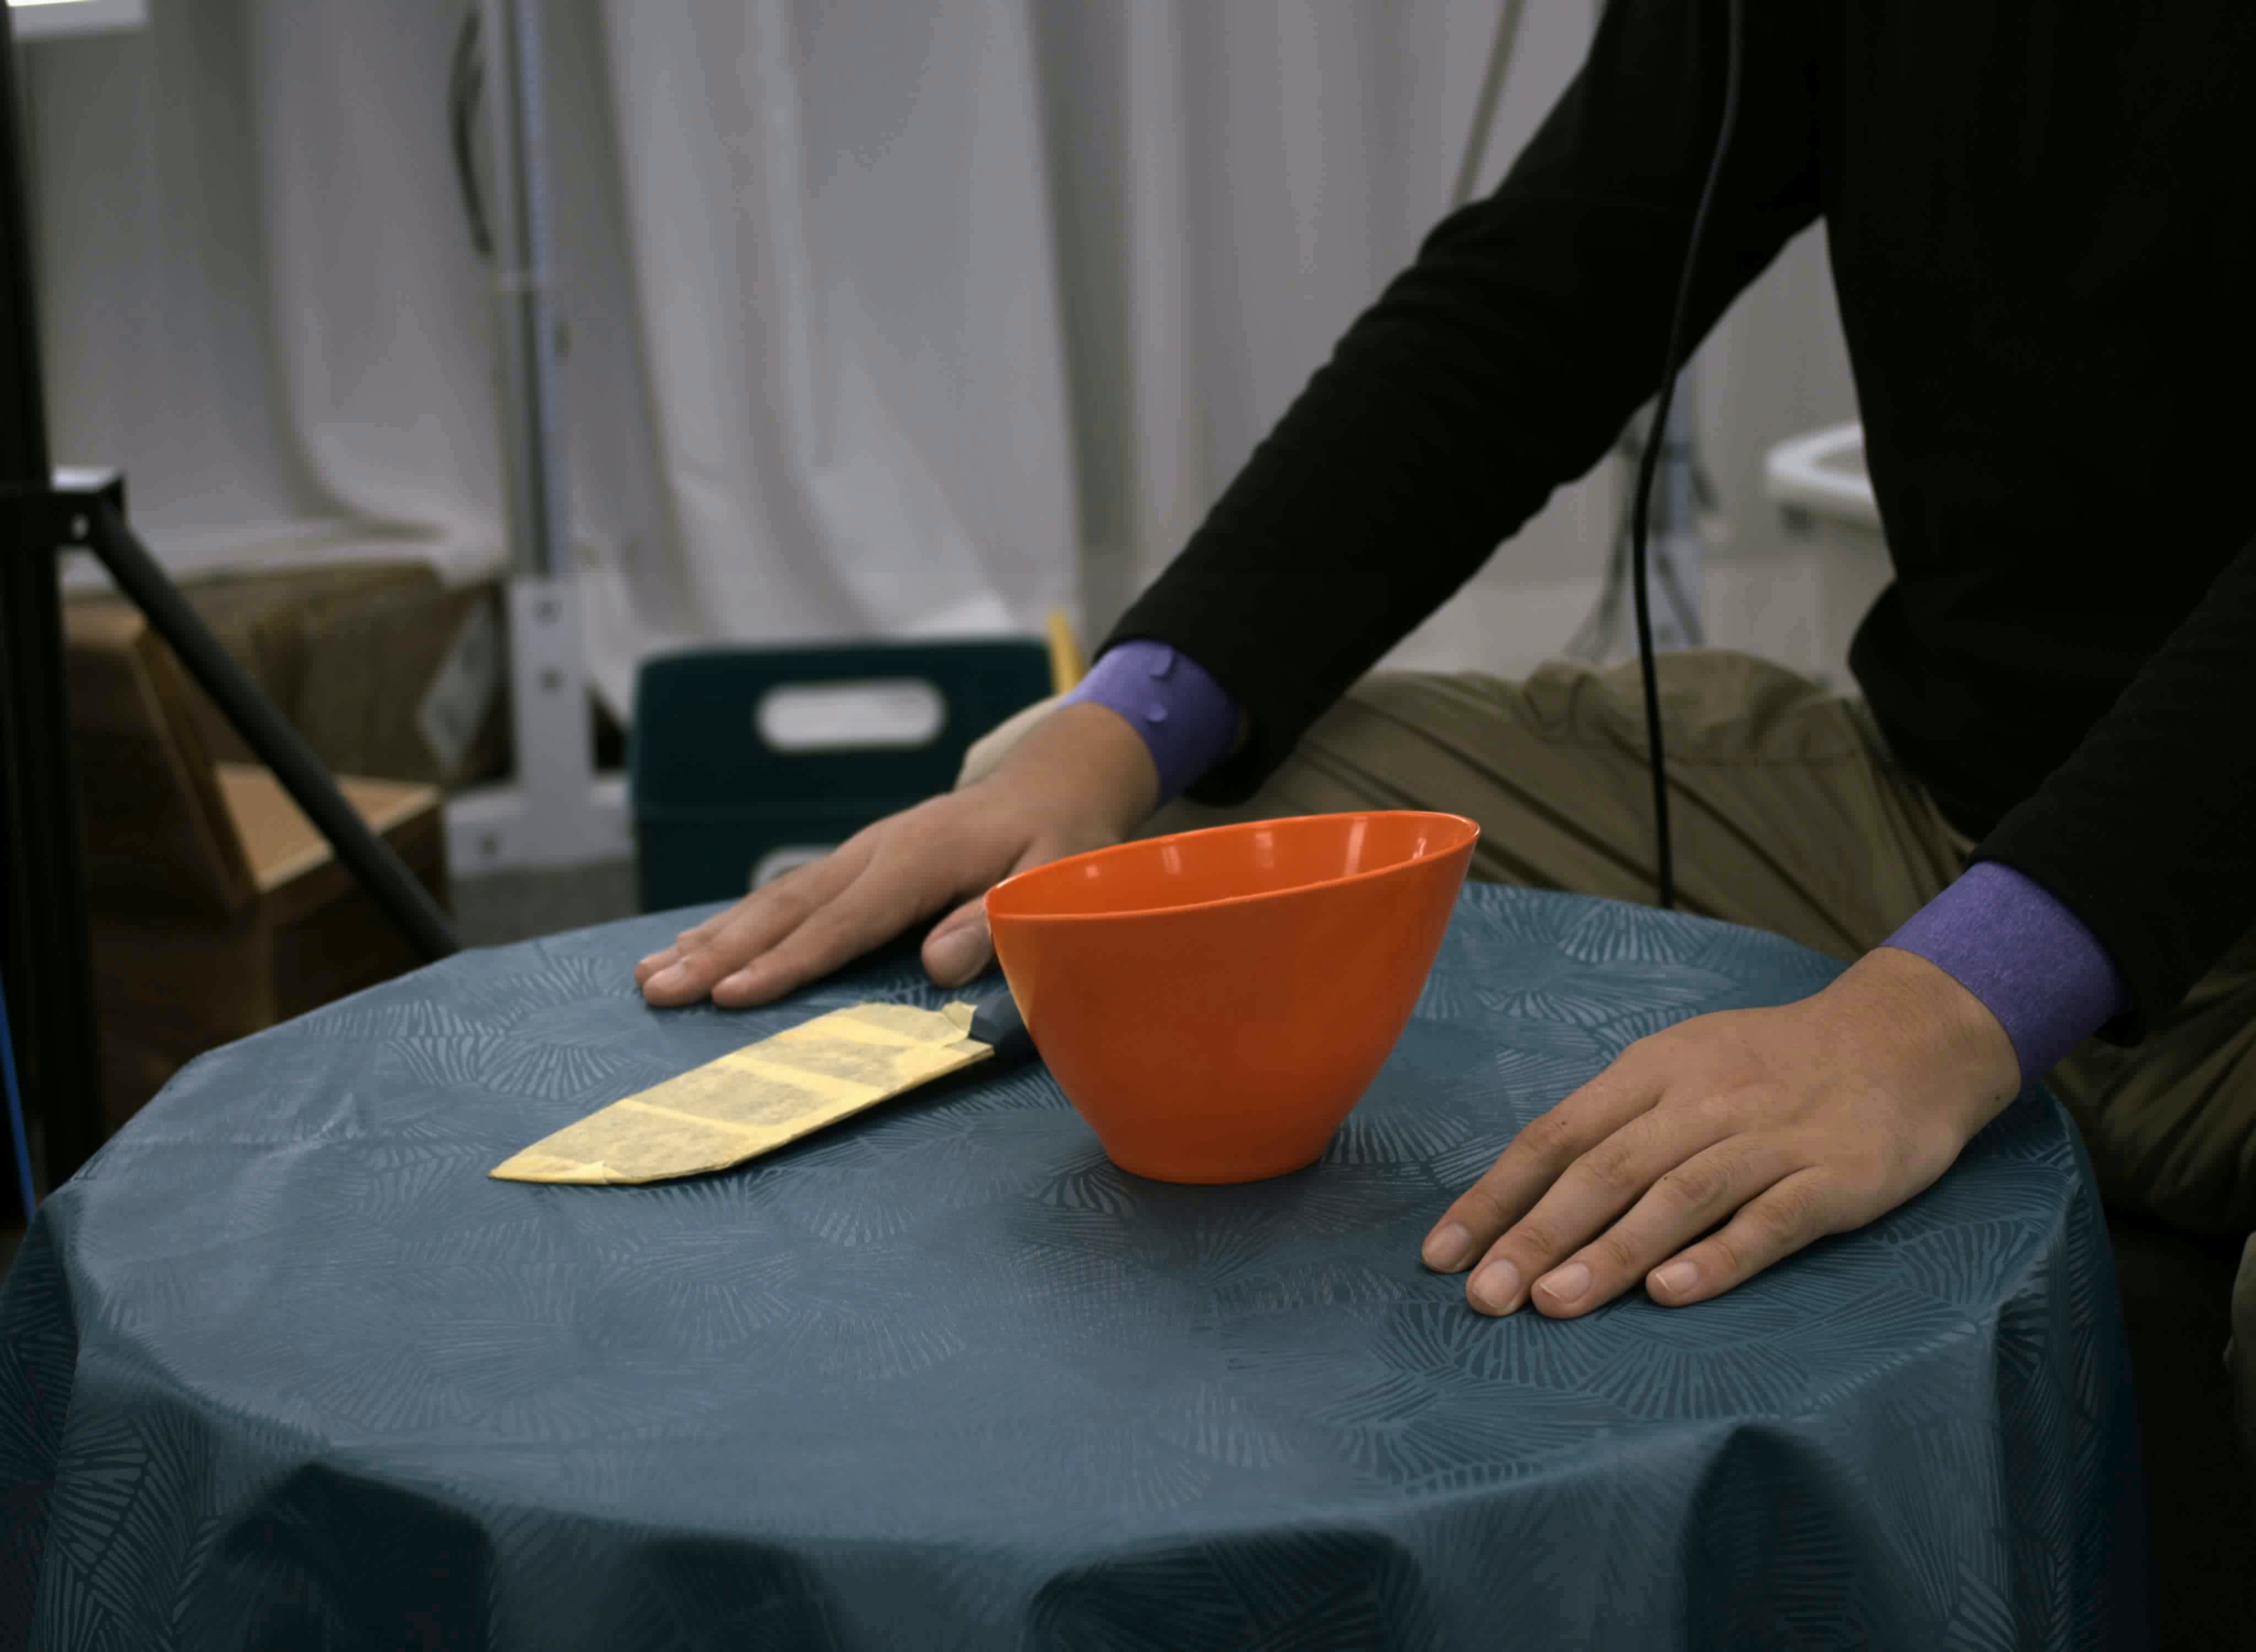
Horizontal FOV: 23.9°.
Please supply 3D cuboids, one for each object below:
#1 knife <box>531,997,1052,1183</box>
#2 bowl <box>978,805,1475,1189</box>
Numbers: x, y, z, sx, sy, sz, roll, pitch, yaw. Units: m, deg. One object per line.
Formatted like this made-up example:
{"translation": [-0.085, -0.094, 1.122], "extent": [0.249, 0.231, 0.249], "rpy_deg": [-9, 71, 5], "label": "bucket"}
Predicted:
{"translation": [-0.073, 0.070, 1.675], "extent": [0.283, 0.027, 0.083], "rpy_deg": [-18, 23, -40], "label": "knife"}
{"translation": [0.031, 0.050, 1.567], "extent": [0.147, 0.104, 0.149], "rpy_deg": [-4, 16, 0], "label": "bowl"}
